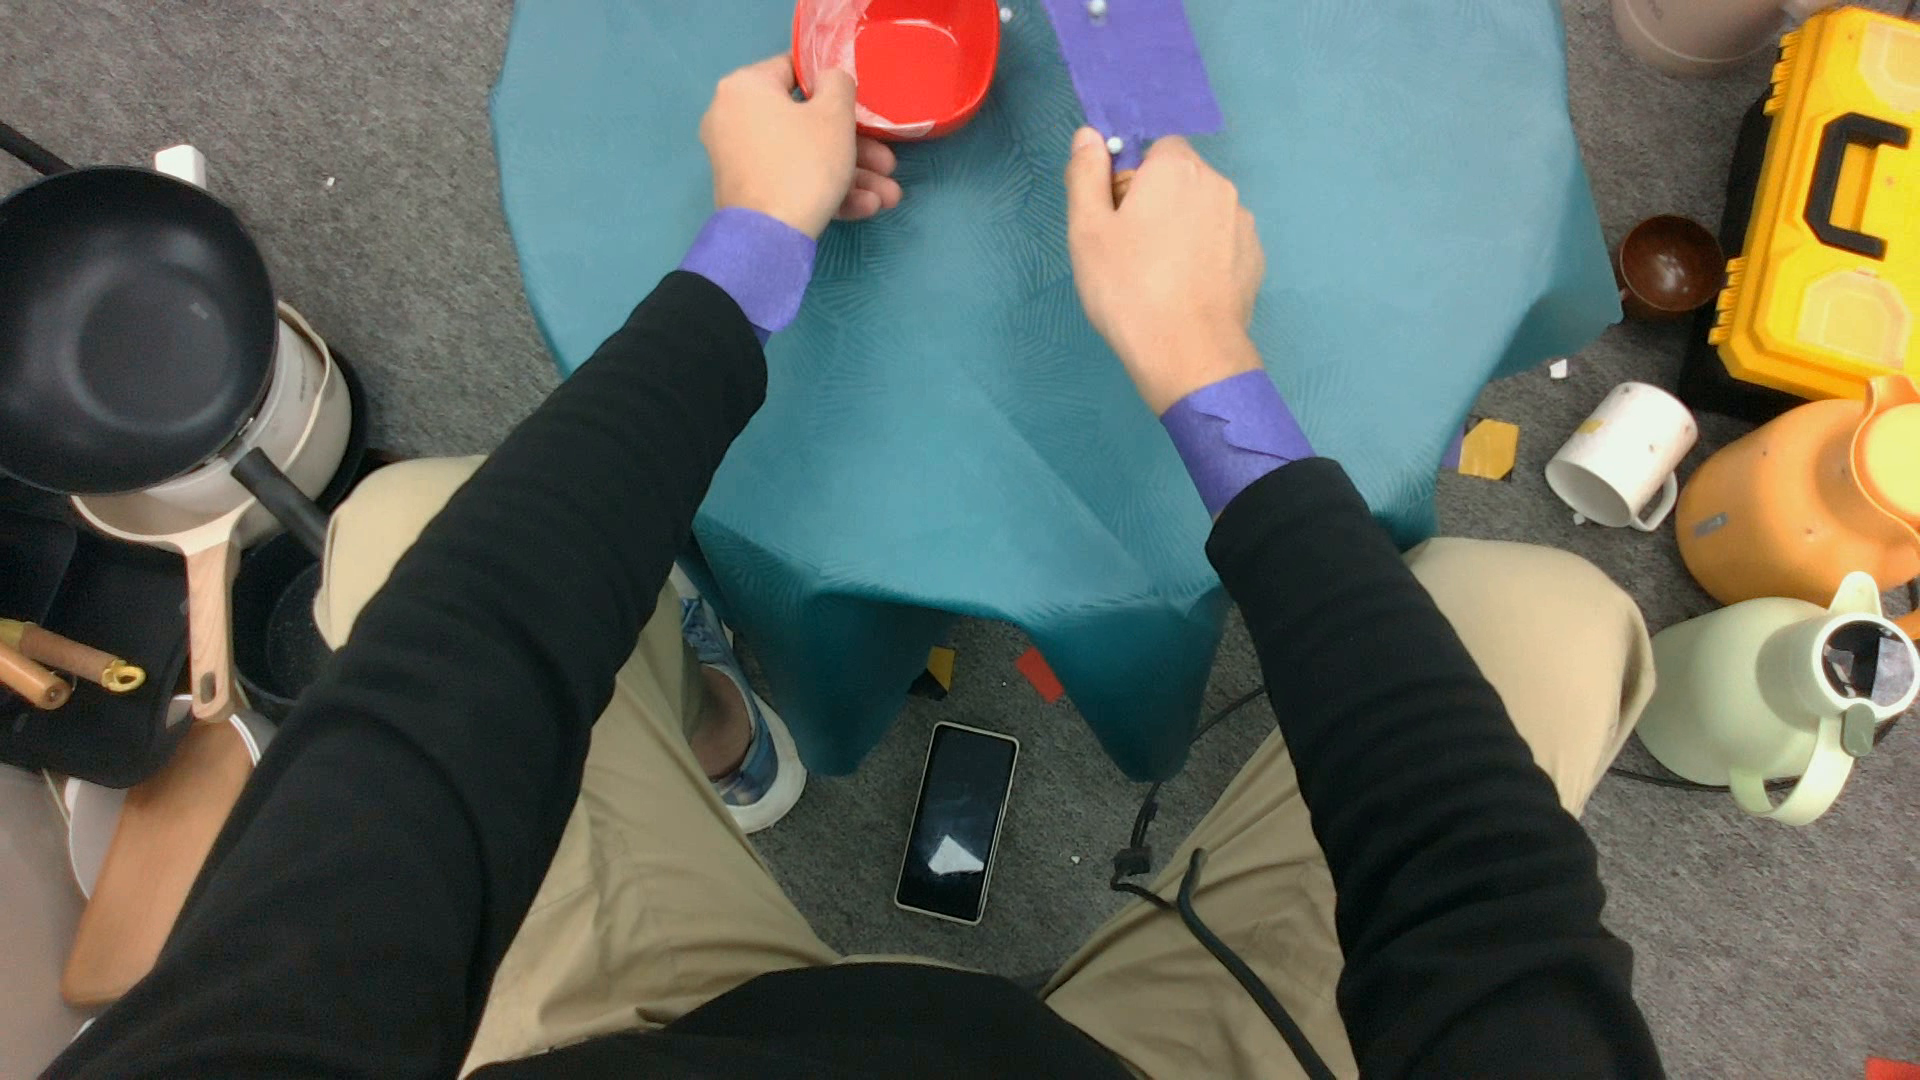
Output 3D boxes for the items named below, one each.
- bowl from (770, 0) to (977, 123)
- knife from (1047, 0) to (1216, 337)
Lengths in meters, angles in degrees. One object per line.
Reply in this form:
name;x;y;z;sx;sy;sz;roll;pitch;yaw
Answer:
bowl;-0.045;-0.271;0.751;0.119;0.051;0.119;0;75;2
knife;0.083;-0.260;0.697;0.104;0.032;0.315;-14;86;-31
